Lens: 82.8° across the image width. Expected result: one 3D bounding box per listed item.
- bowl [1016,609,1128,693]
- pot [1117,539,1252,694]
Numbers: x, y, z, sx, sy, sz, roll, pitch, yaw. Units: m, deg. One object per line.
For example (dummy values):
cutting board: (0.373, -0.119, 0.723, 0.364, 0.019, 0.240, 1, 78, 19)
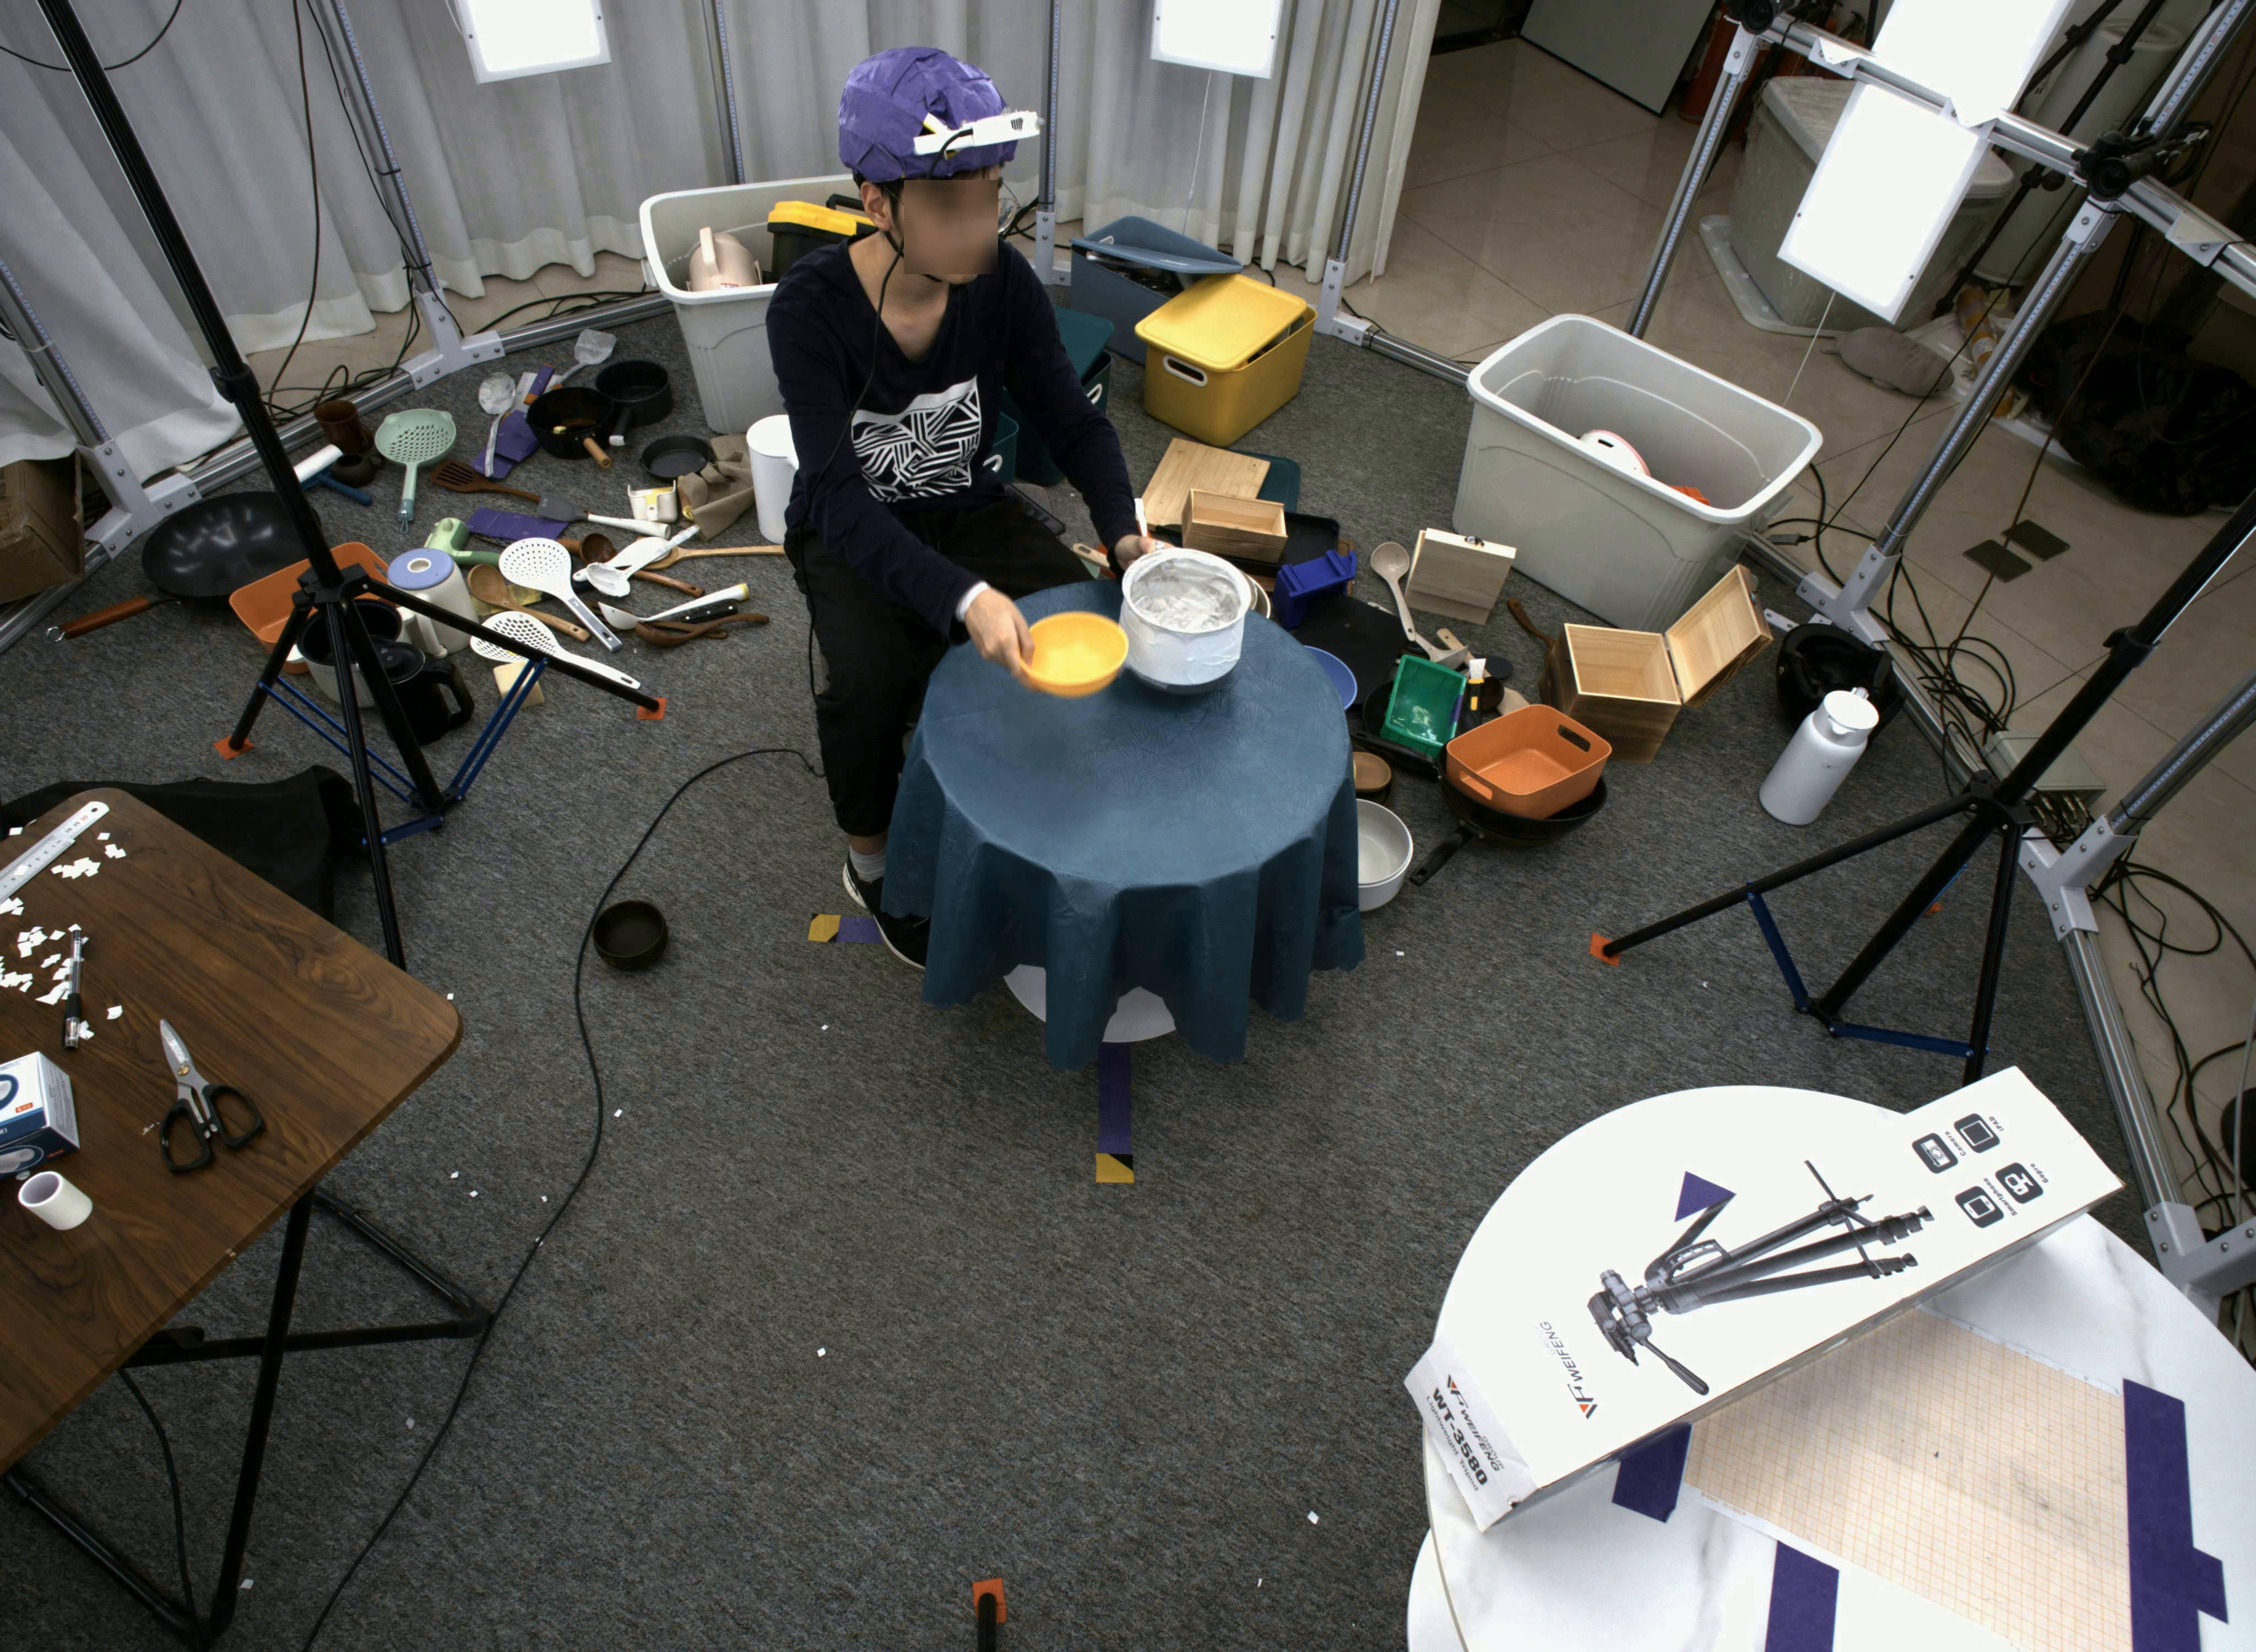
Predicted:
bowl: (-0.072, -0.217, 1.676, 0.145, 0.058, 0.149, -1, 45, 1)
pot: (0.064, -0.304, 1.813, 0.179, 0.133, 0.239, -14, 53, -20)
